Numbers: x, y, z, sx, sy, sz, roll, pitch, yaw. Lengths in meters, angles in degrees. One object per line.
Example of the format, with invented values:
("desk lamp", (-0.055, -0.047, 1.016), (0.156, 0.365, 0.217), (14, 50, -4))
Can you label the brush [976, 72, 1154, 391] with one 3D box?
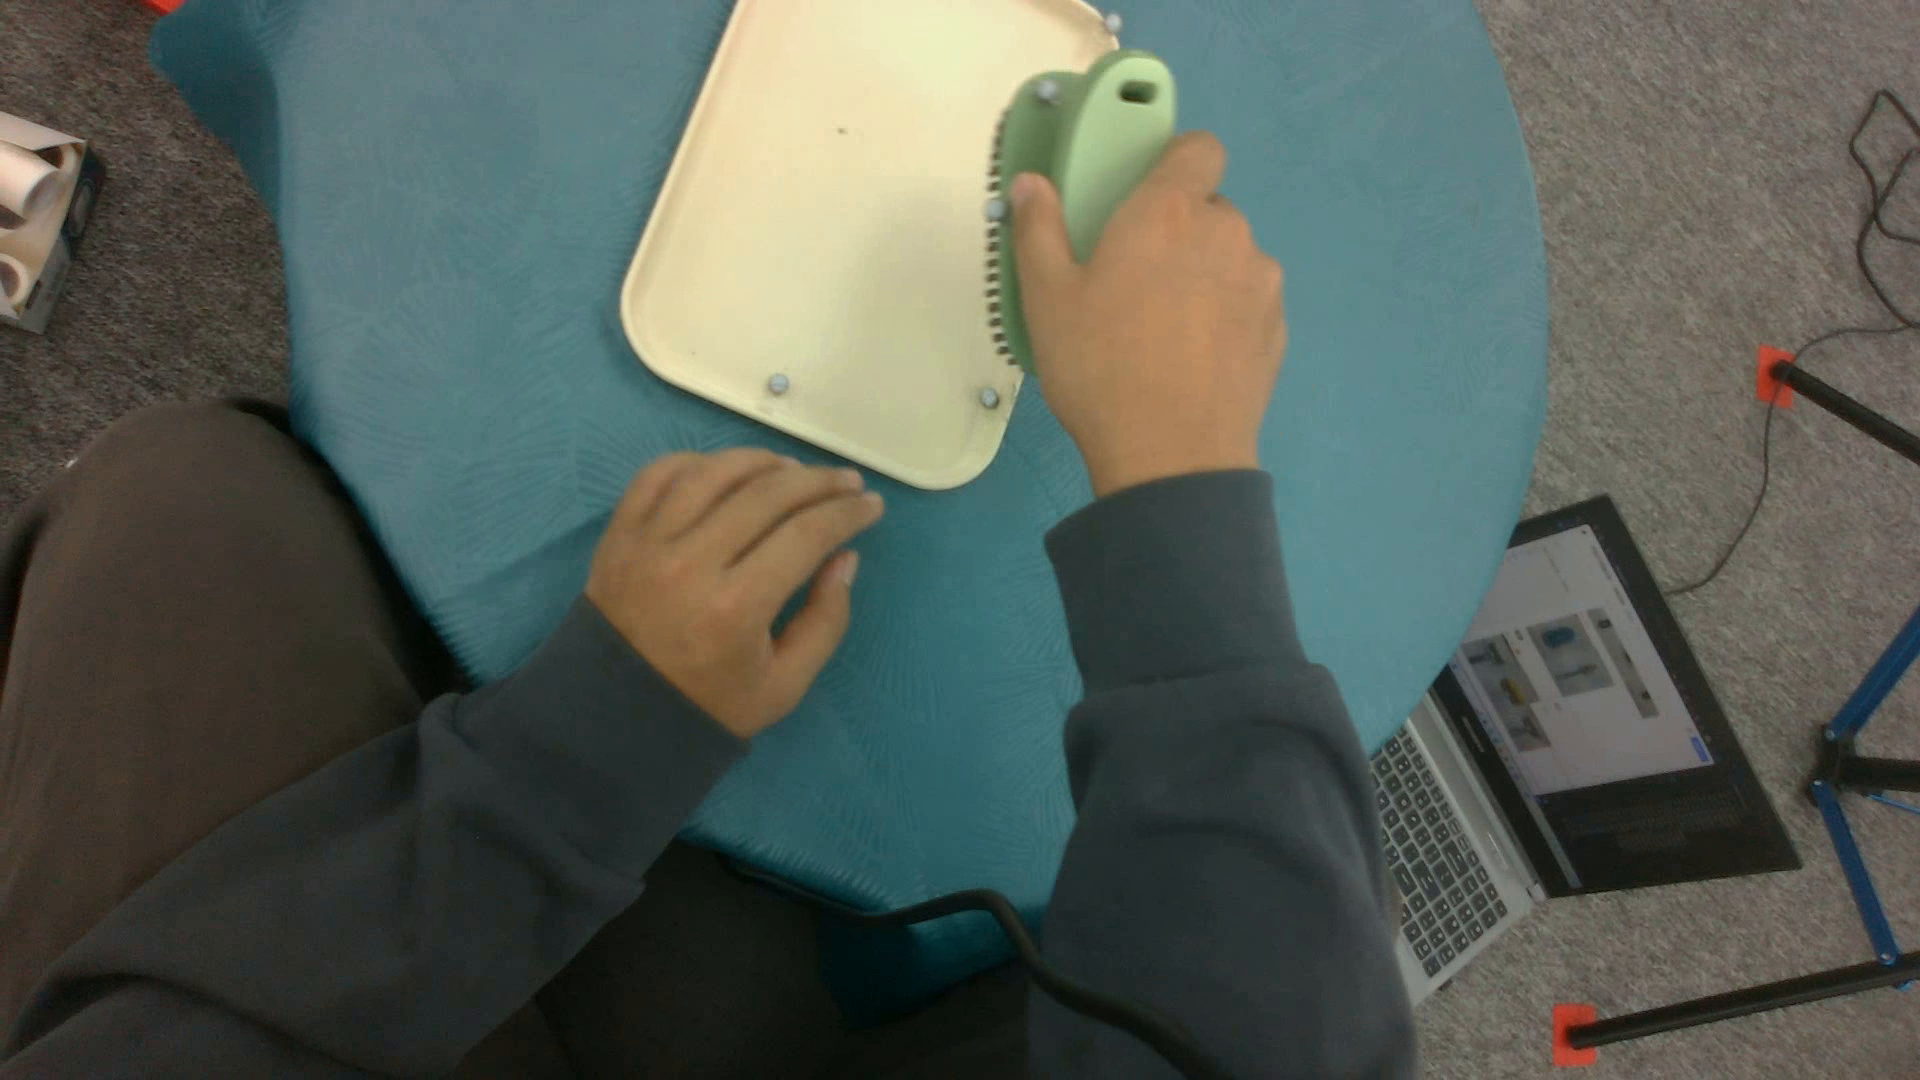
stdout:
("brush", (0.041, -0.122, 0.550), (0.060, 0.076, 0.122), (-6, 108, -23))

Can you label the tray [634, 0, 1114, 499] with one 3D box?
("tray", (-0.033, -0.148, 0.615), (0.171, 0.017, 0.240), (21, 78, -14))
